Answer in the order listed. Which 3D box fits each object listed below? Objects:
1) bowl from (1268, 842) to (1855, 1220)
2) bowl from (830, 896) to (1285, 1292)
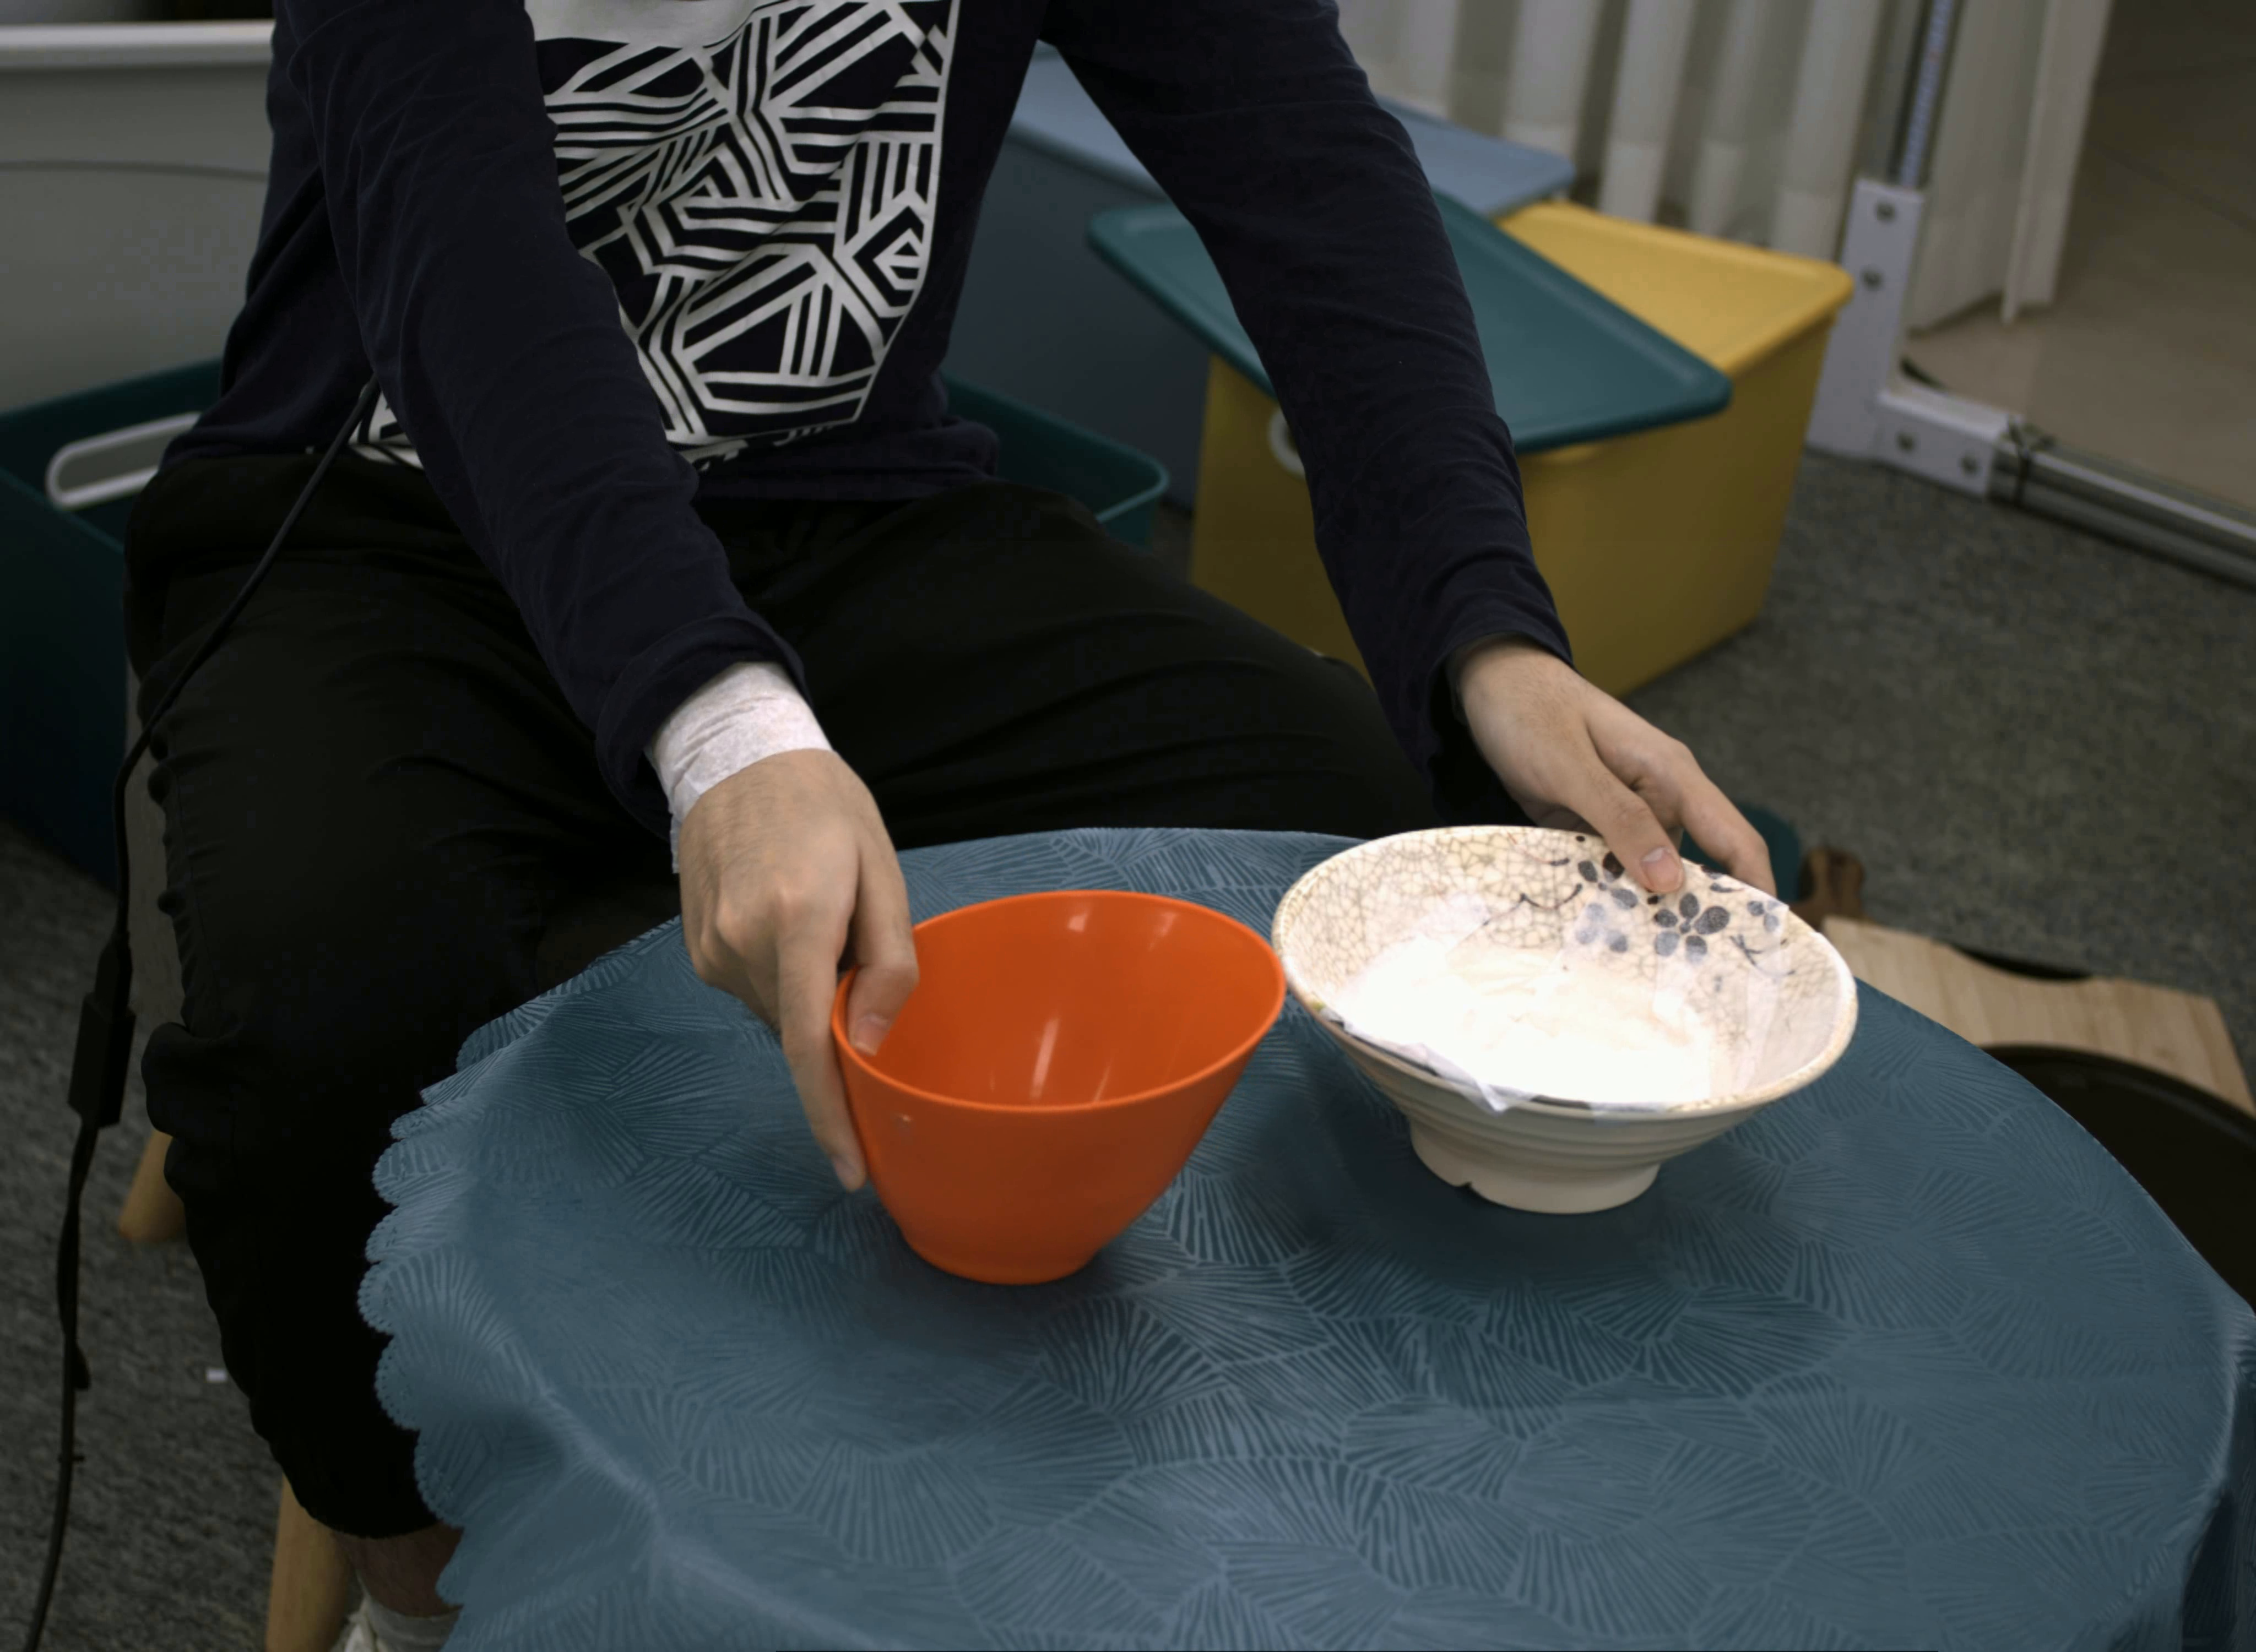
[{"bbox_3d":[0.145,0.082,1.838,0.203,0.078,0.205,6,23,-3],"label":"bowl"},{"bbox_3d":[-0.026,0.093,1.750,0.147,0.104,0.149,4,26,-2],"label":"bowl"}]
